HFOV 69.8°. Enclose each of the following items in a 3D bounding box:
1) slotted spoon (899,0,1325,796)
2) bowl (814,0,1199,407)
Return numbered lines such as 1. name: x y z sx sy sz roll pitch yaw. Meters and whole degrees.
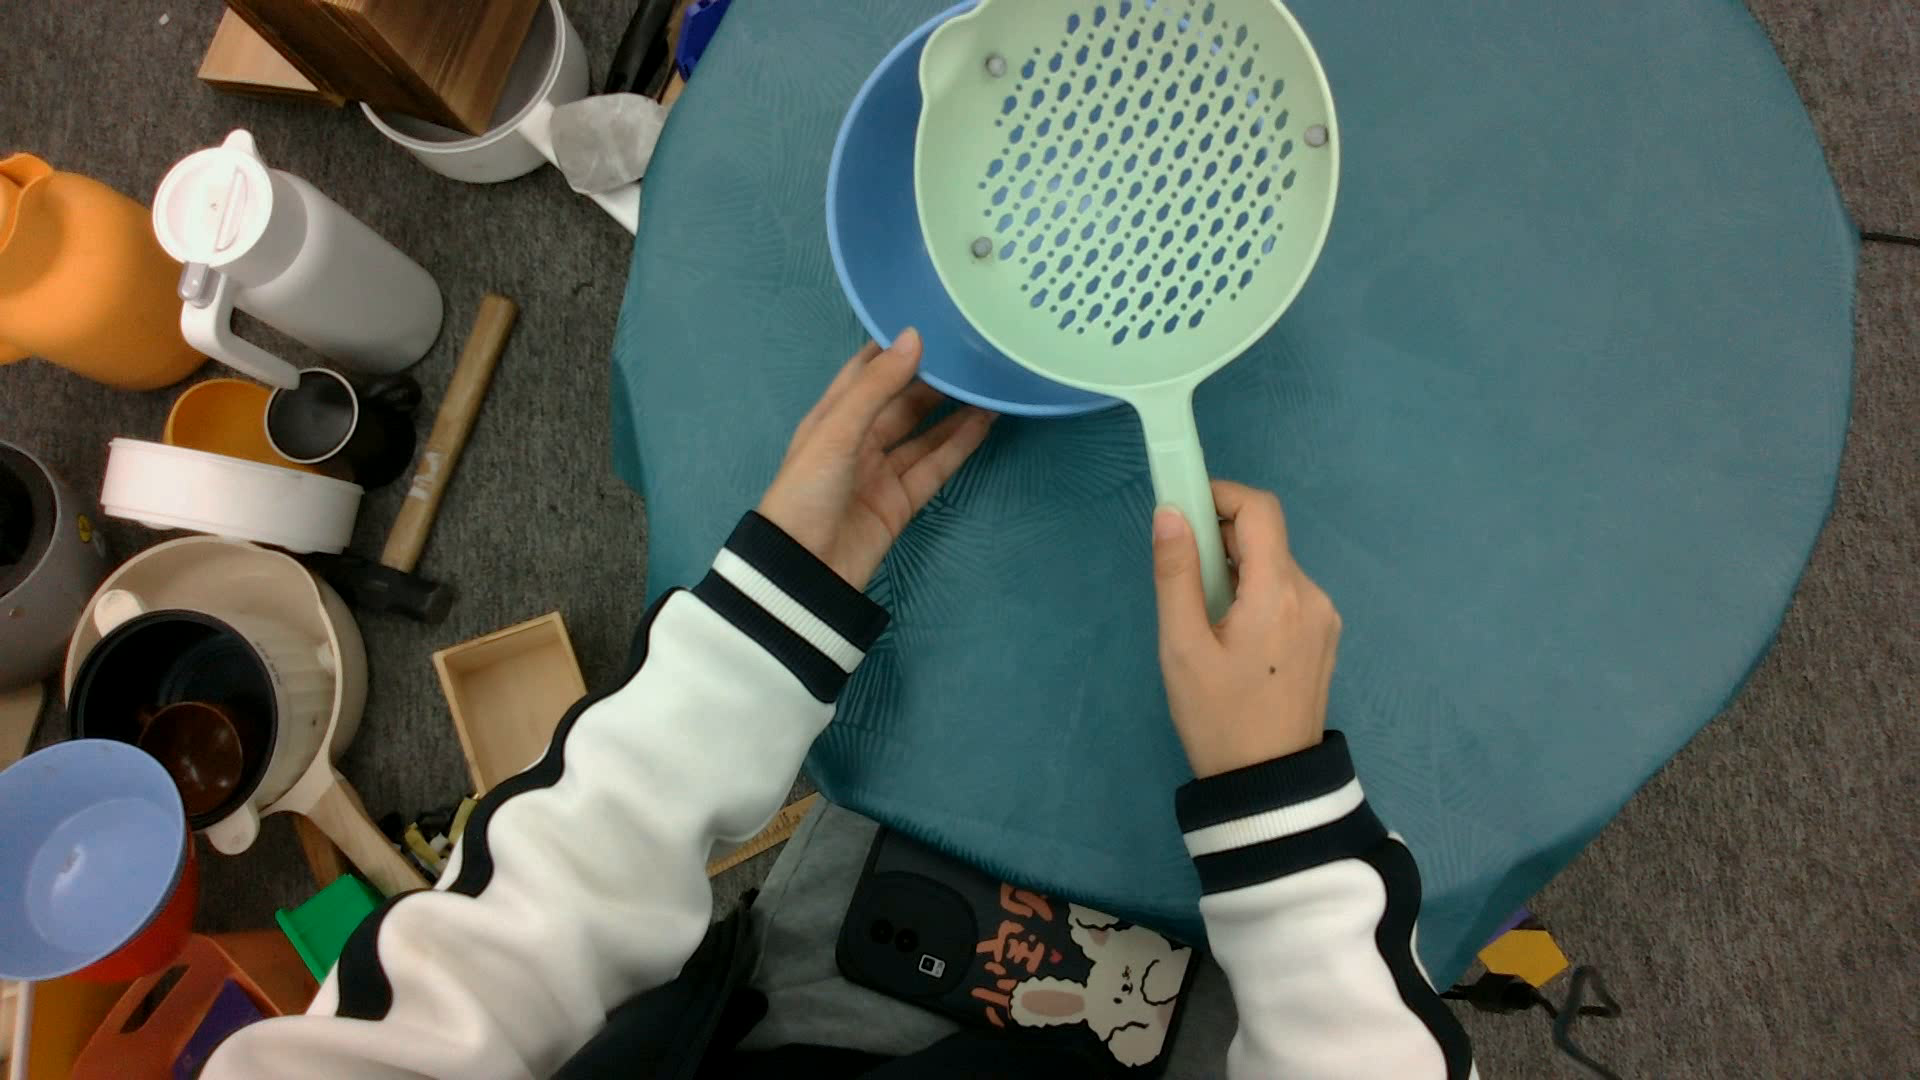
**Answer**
1. slotted spoon: 0.082 -0.057 0.569 0.169 0.075 0.358 -9 94 21
2. bowl: 0.037 -0.148 0.645 0.196 0.095 0.197 -1 81 4
